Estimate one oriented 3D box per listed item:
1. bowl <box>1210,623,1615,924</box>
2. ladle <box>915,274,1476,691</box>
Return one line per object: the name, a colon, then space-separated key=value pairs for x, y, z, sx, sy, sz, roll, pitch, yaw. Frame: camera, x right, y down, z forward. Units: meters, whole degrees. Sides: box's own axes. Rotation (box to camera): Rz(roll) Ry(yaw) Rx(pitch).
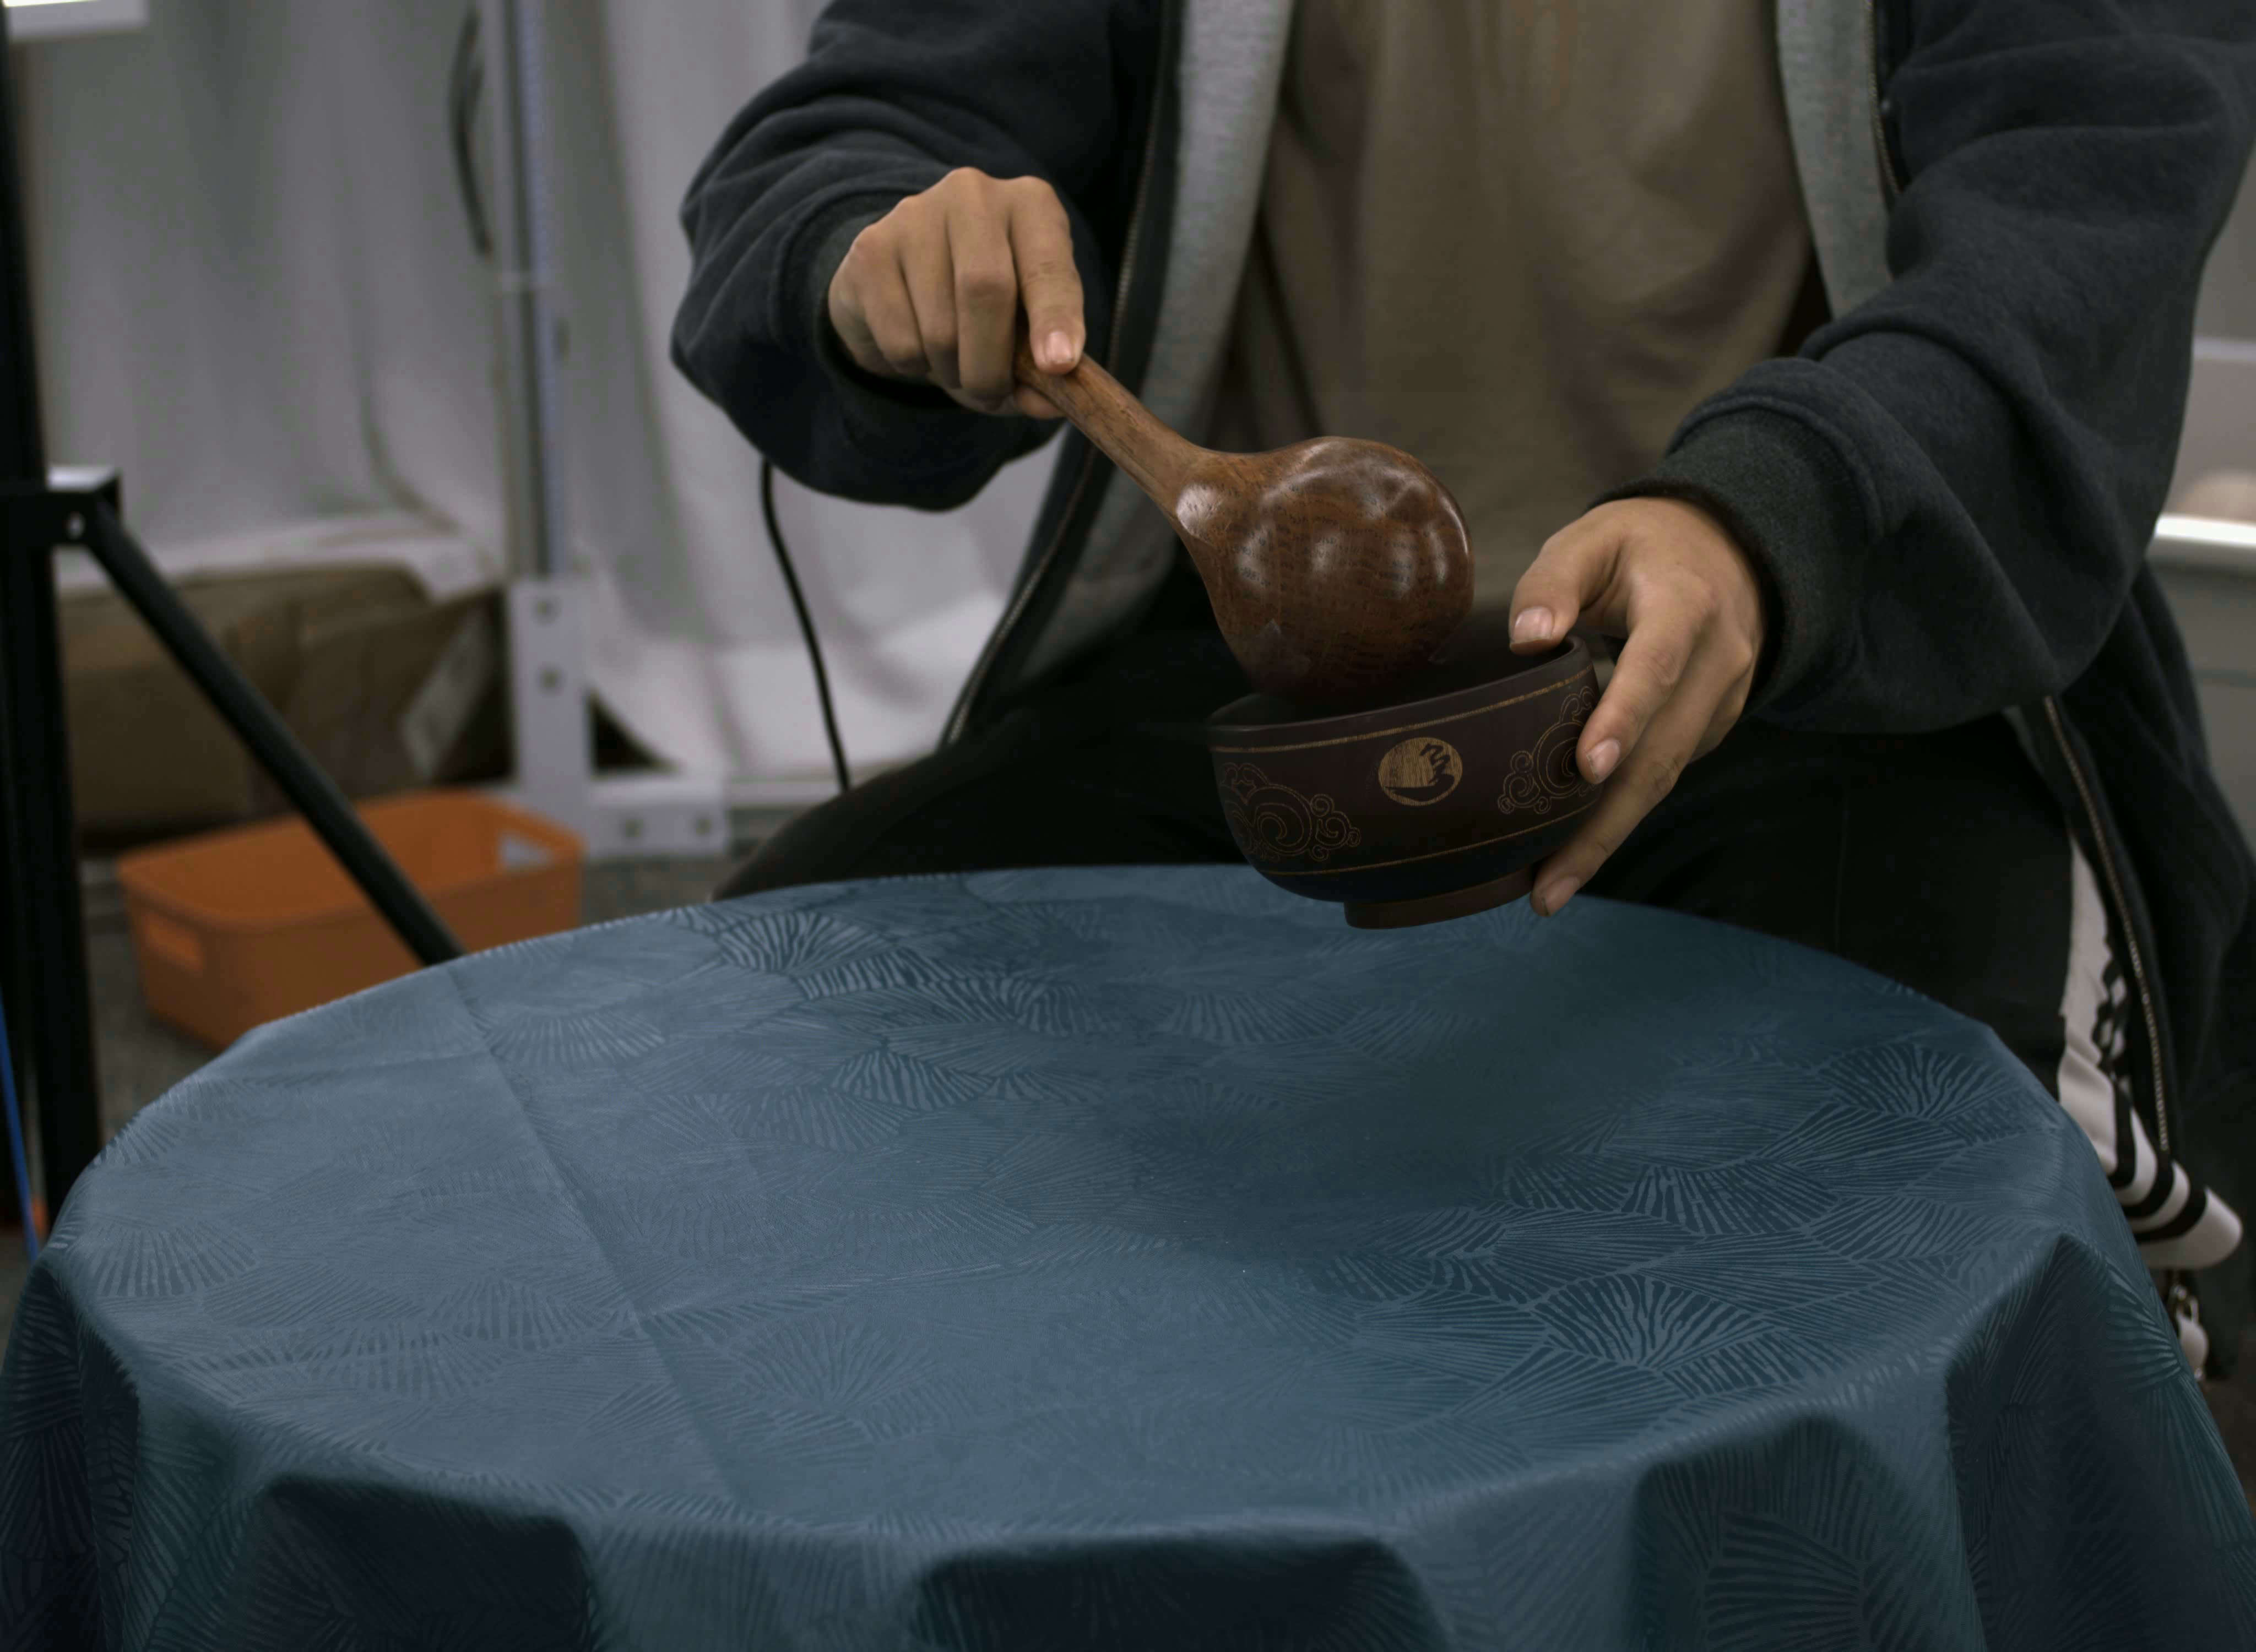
bowl: x=0.087 y=-0.012 z=1.555 sx=0.117 sy=0.070 sz=0.118 roll=-13 pitch=7 yaw=0
ladle: x=0.019 y=-0.118 z=1.646 sx=0.075 sy=0.082 sz=0.279 roll=23 pitch=9 yaw=-29
